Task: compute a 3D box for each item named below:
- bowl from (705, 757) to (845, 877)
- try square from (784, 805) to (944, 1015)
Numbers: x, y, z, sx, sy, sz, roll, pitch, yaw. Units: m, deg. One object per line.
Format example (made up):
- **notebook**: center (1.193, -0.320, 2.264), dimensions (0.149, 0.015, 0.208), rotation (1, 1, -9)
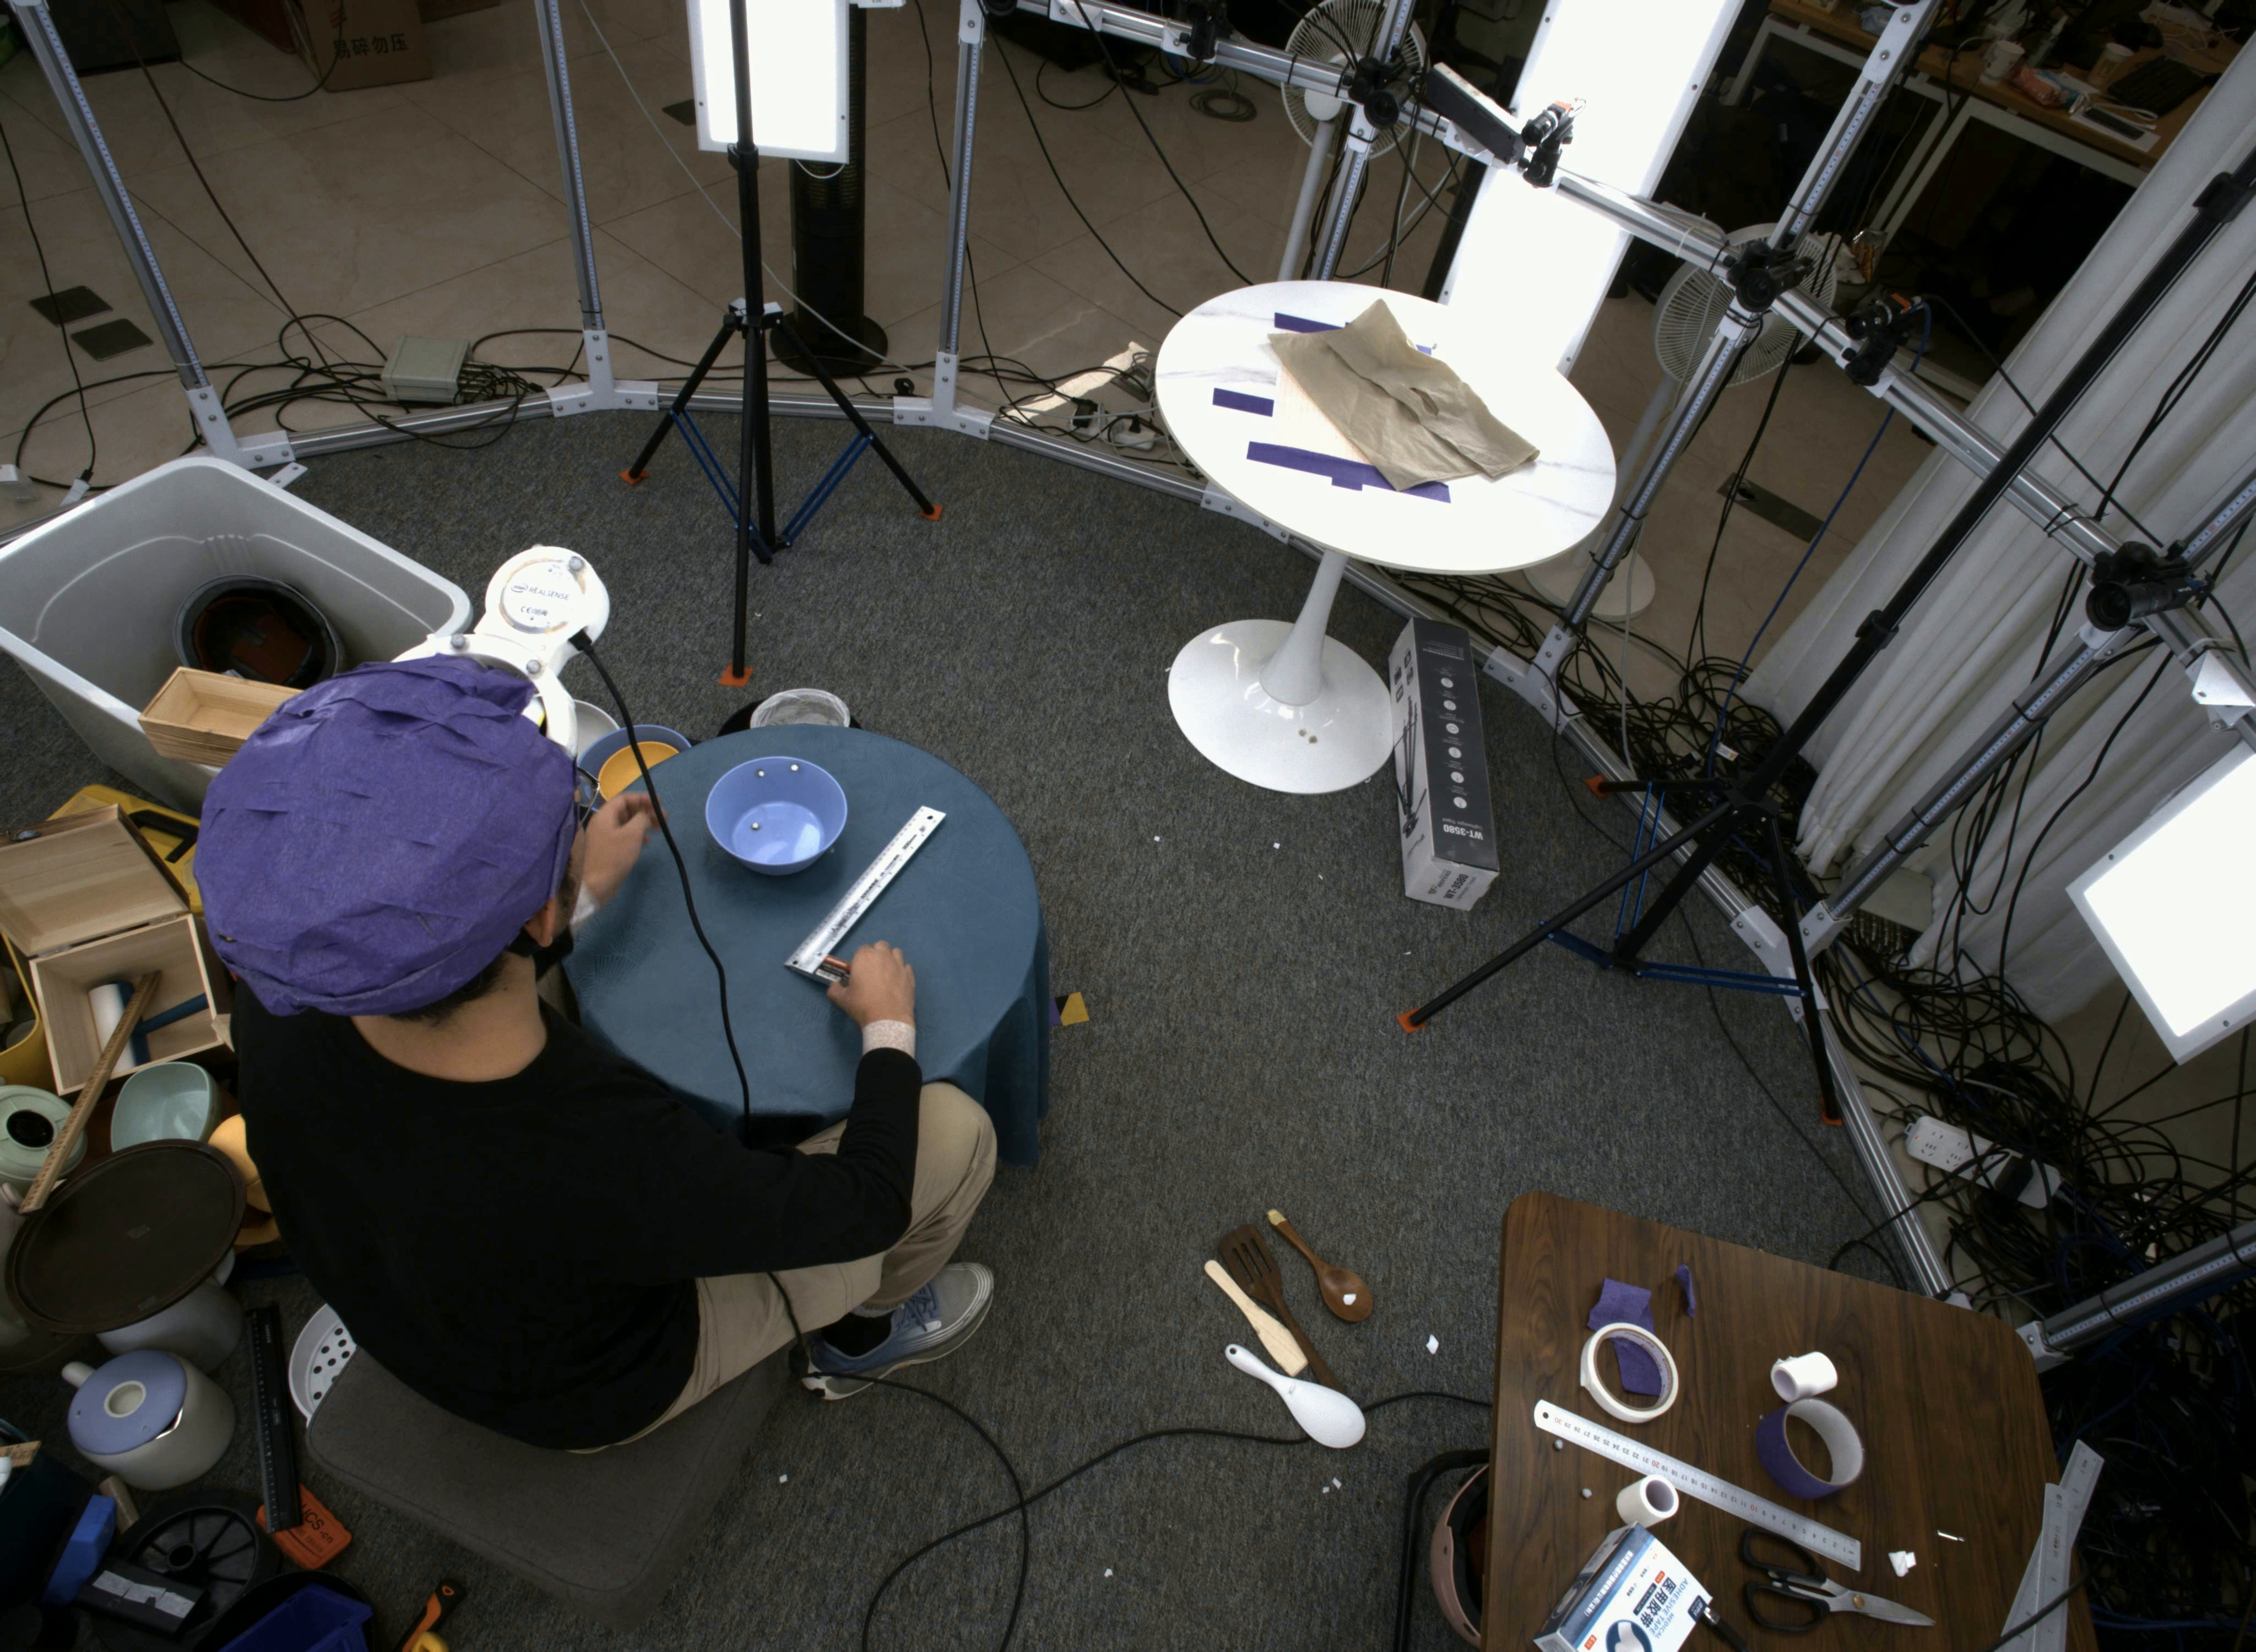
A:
- **bowl**: center (-0.453, -0.002, 1.668), dimensions (0.176, 0.071, 0.173), rotation (8, 52, -9)
- **try square**: center (-0.288, 0.097, 1.663), dimensions (0.148, 0.016, 0.311), rotation (22, 50, 15)
